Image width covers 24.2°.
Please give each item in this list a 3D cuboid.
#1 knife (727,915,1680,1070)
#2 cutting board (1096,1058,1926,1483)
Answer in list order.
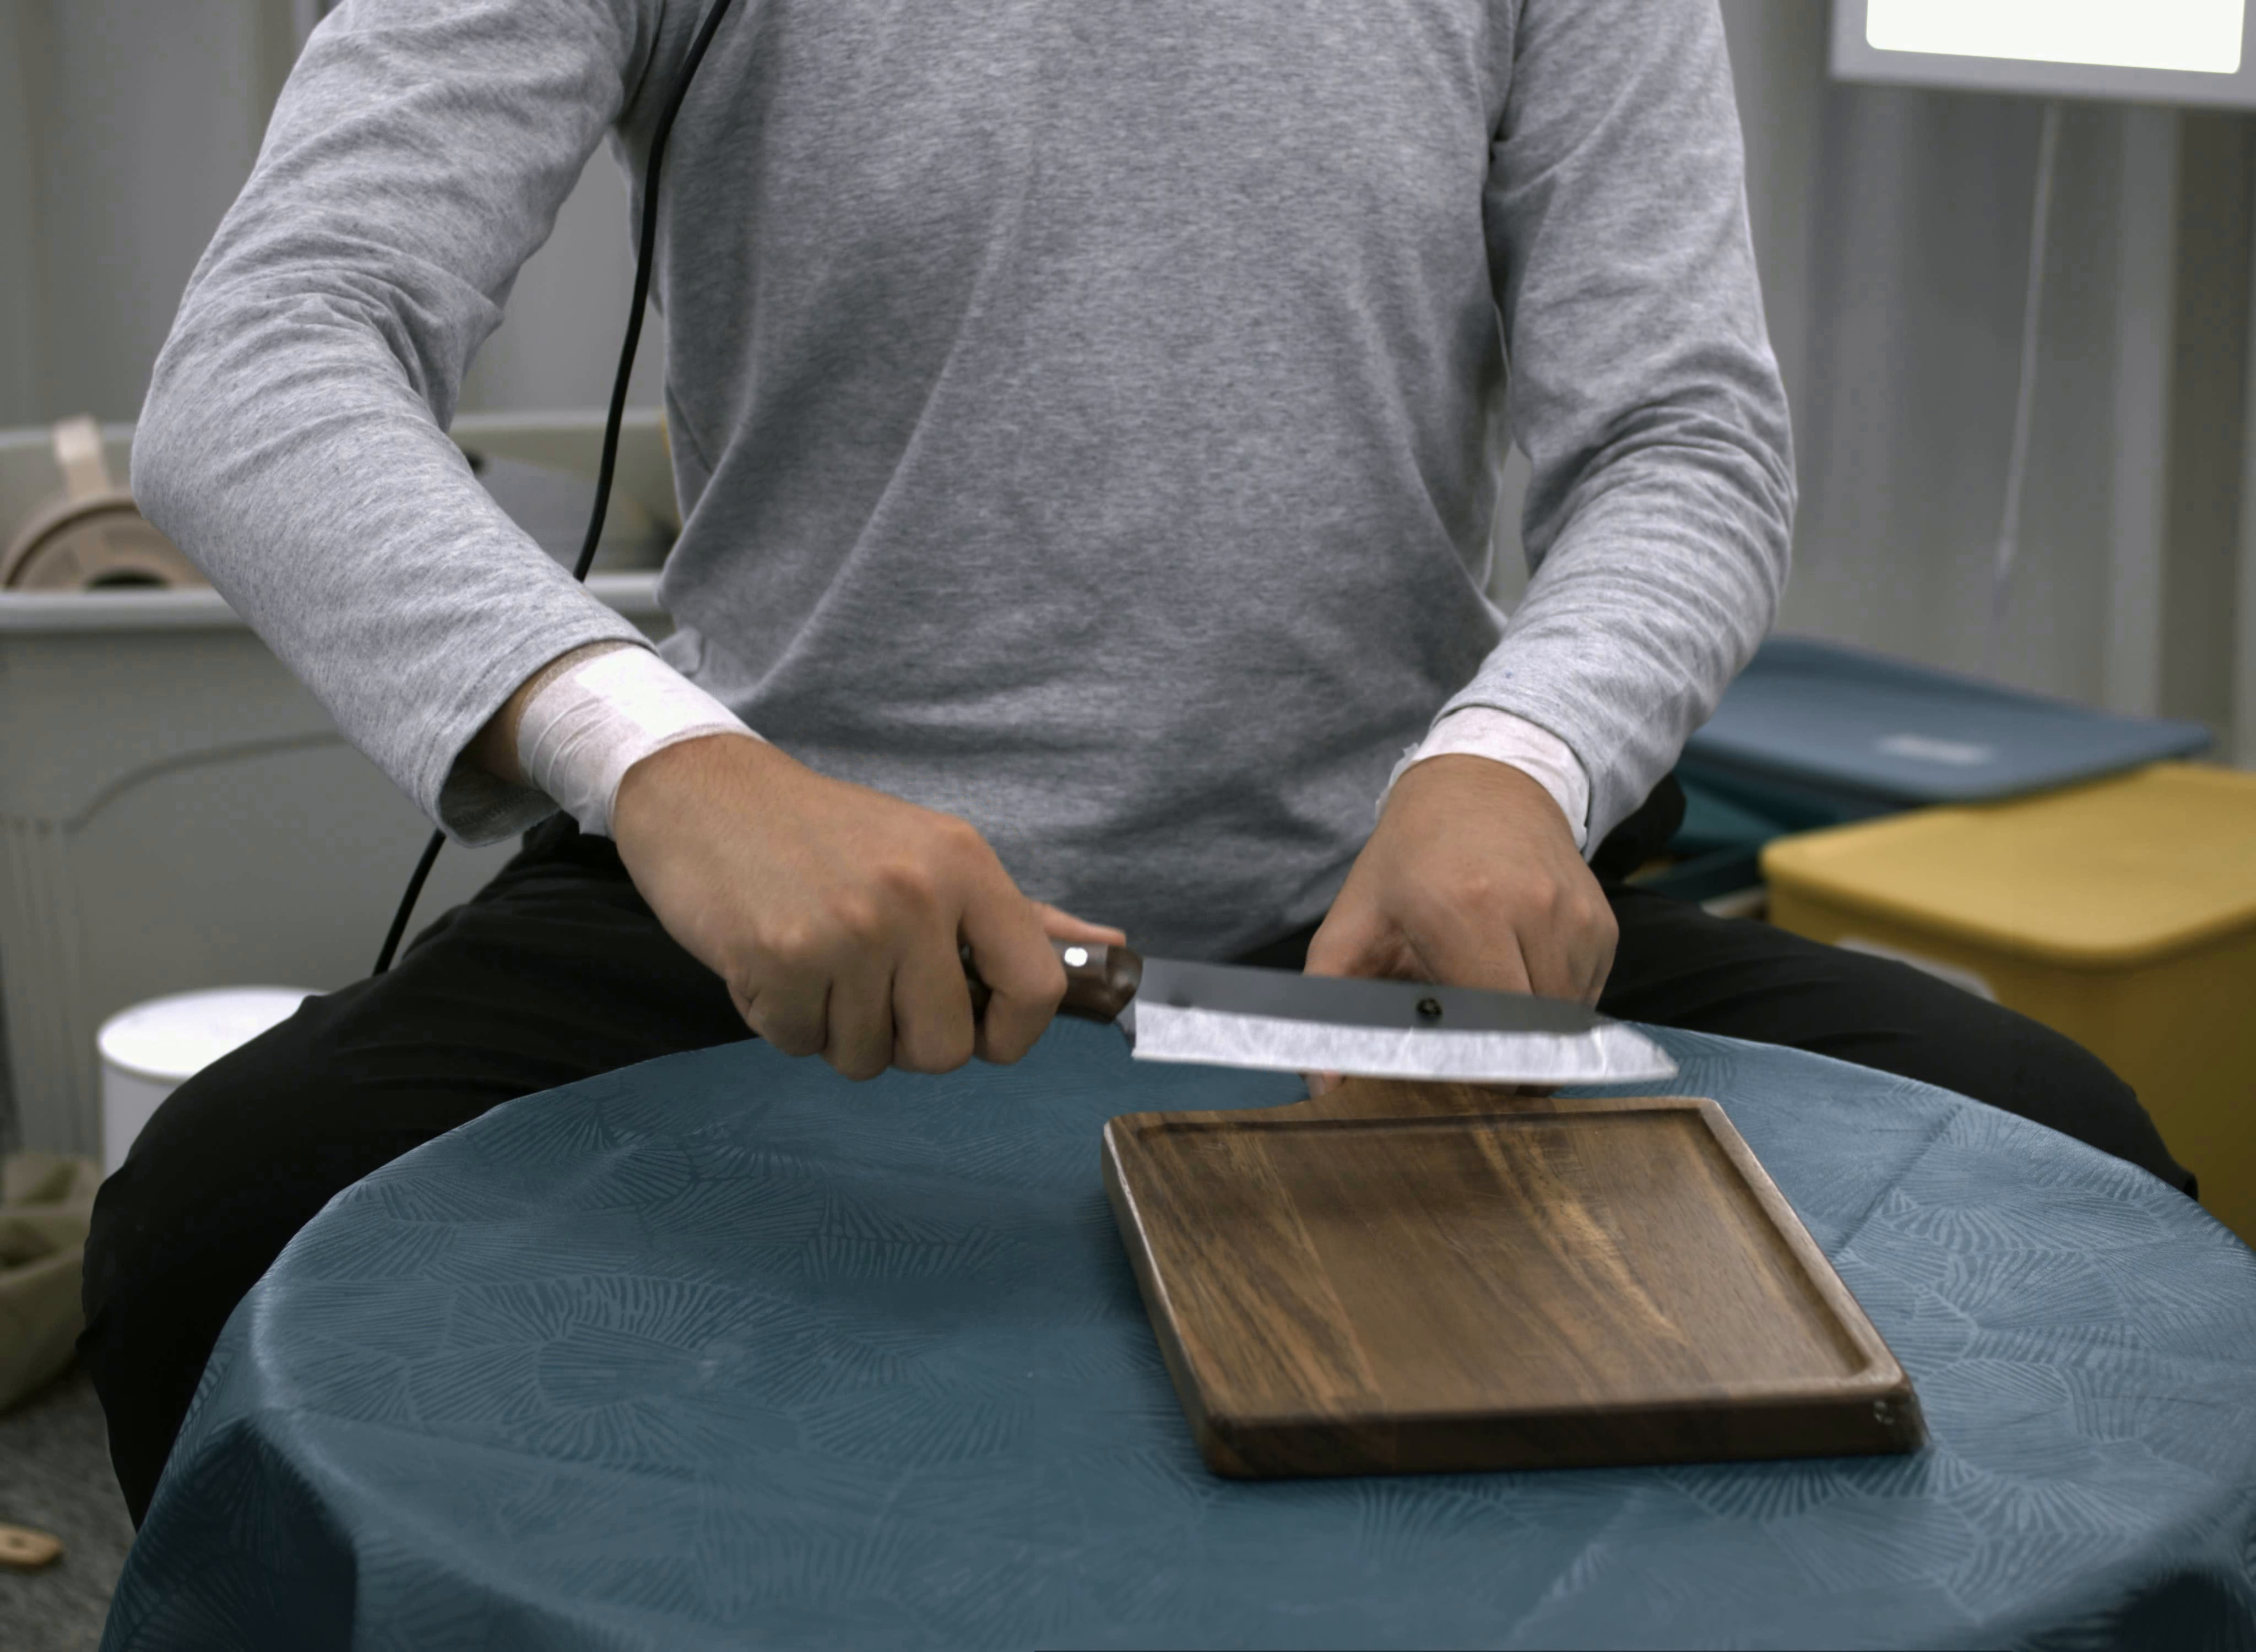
[{"bbox_3d":[0.024,0.052,1.574,0.289,0.020,0.050,6,41,-6],"label":"knife"},{"bbox_3d":[0.097,0.115,1.571,0.201,0.023,0.349,-1,16,-7],"label":"cutting board"}]
